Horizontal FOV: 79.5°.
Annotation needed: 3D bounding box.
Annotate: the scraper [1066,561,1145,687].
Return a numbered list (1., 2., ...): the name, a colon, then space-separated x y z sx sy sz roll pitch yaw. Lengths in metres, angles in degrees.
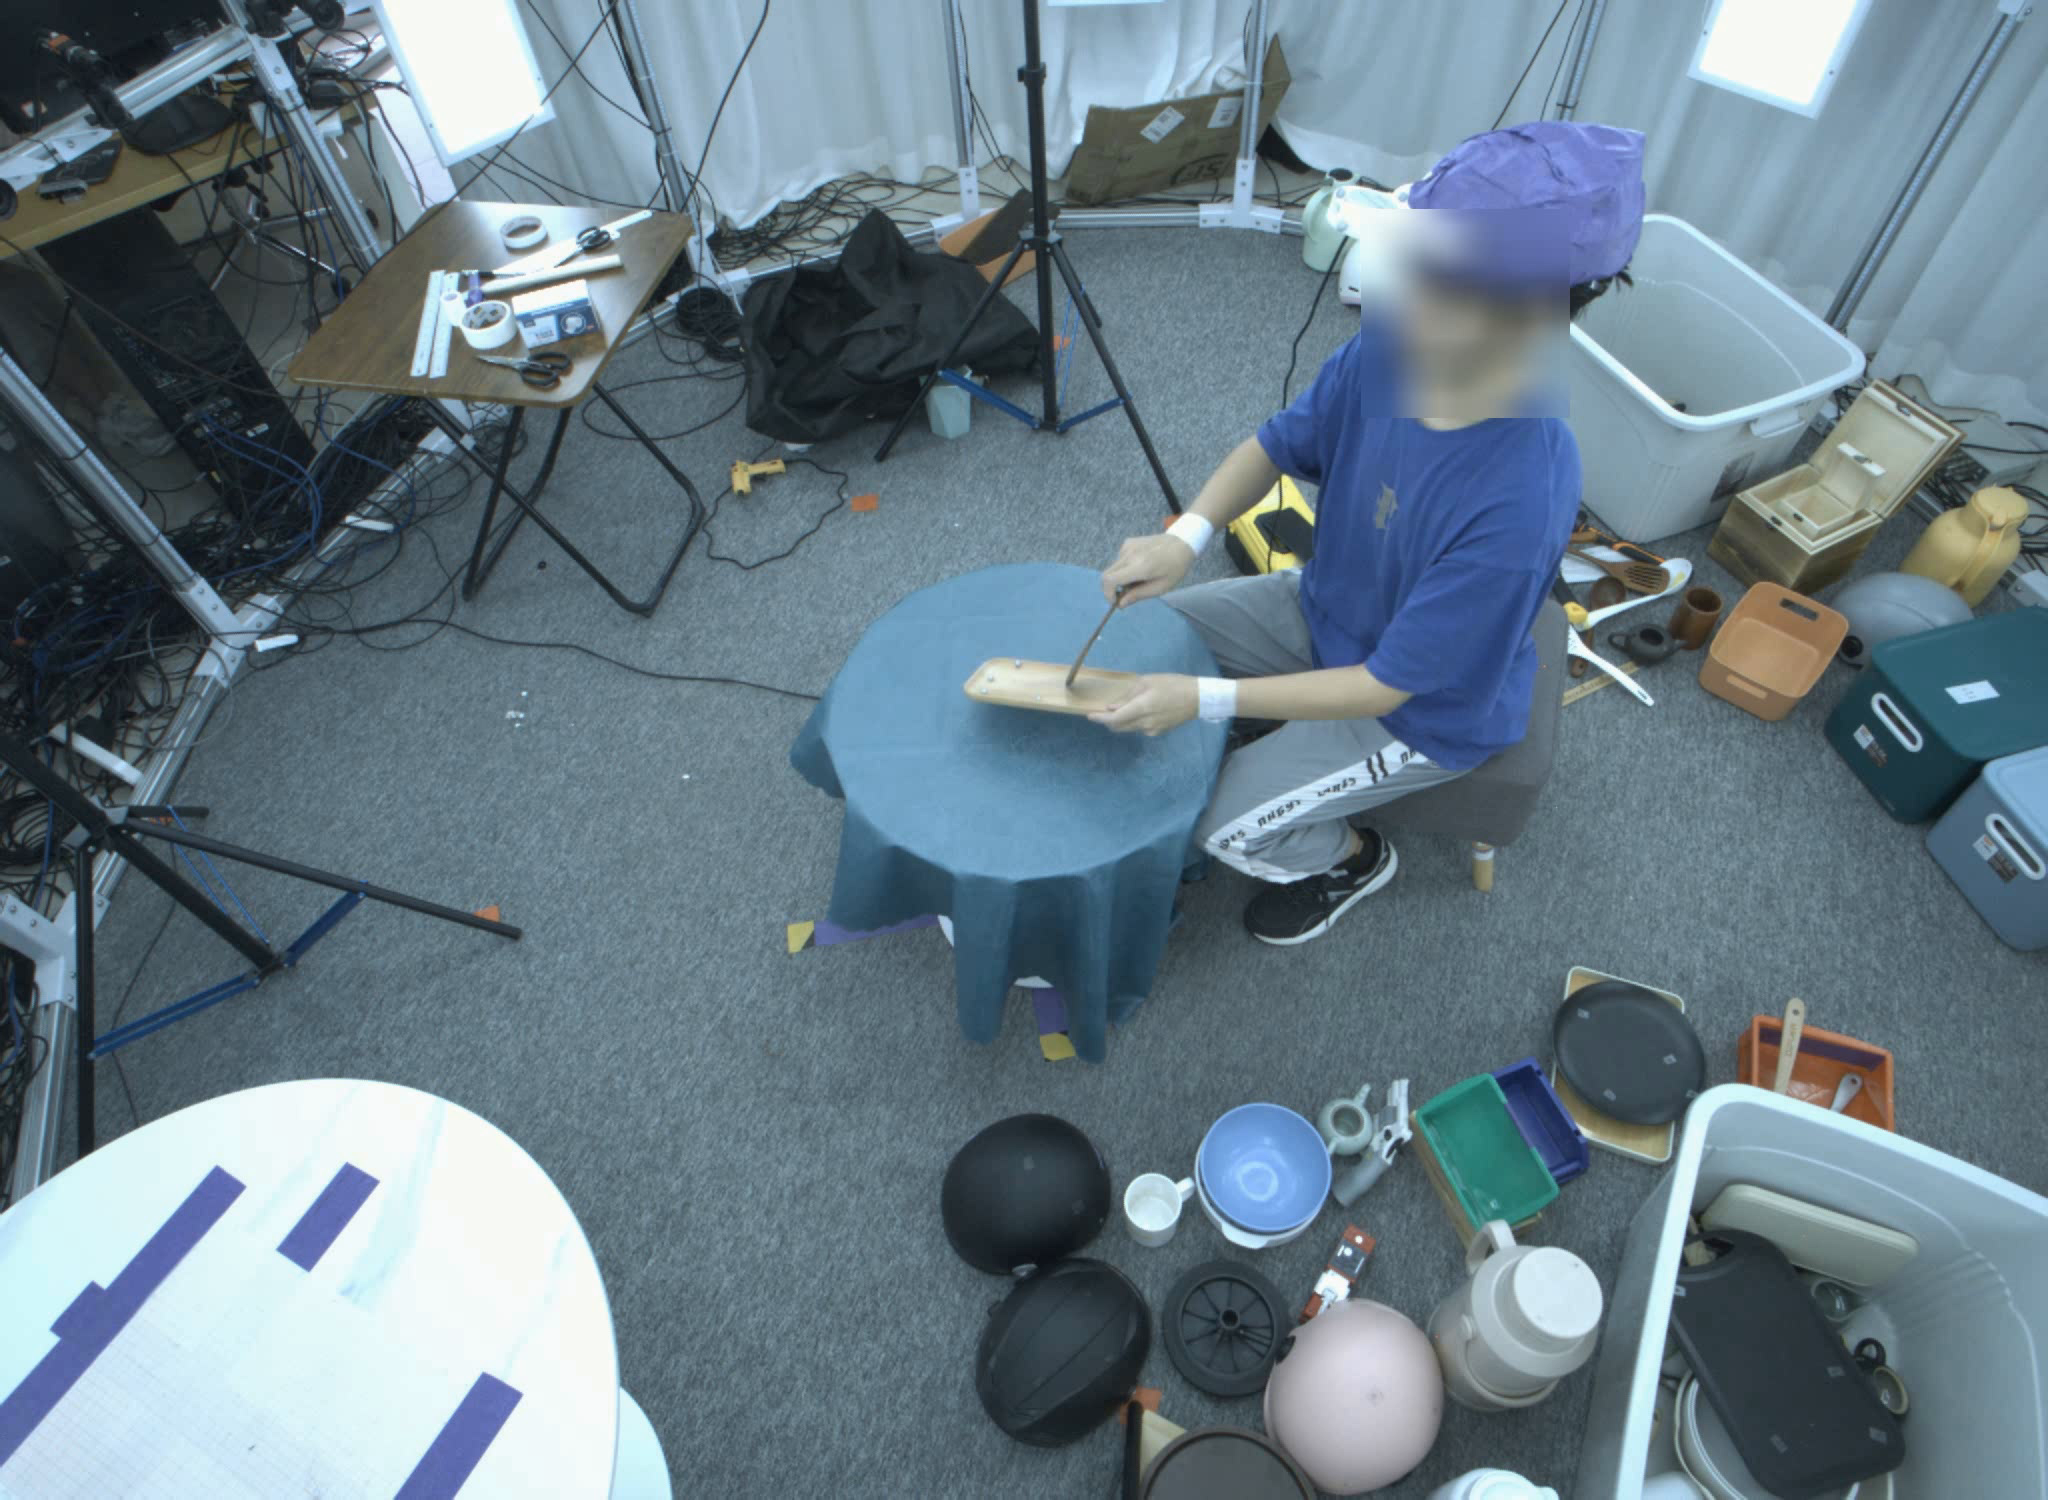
1. scraper: 0.115 -0.180 1.737 0.011 0.075 0.211 33 79 -3

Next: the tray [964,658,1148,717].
1. tray: 0.045 -0.090 1.751 0.247 0.023 0.131 9 33 17
